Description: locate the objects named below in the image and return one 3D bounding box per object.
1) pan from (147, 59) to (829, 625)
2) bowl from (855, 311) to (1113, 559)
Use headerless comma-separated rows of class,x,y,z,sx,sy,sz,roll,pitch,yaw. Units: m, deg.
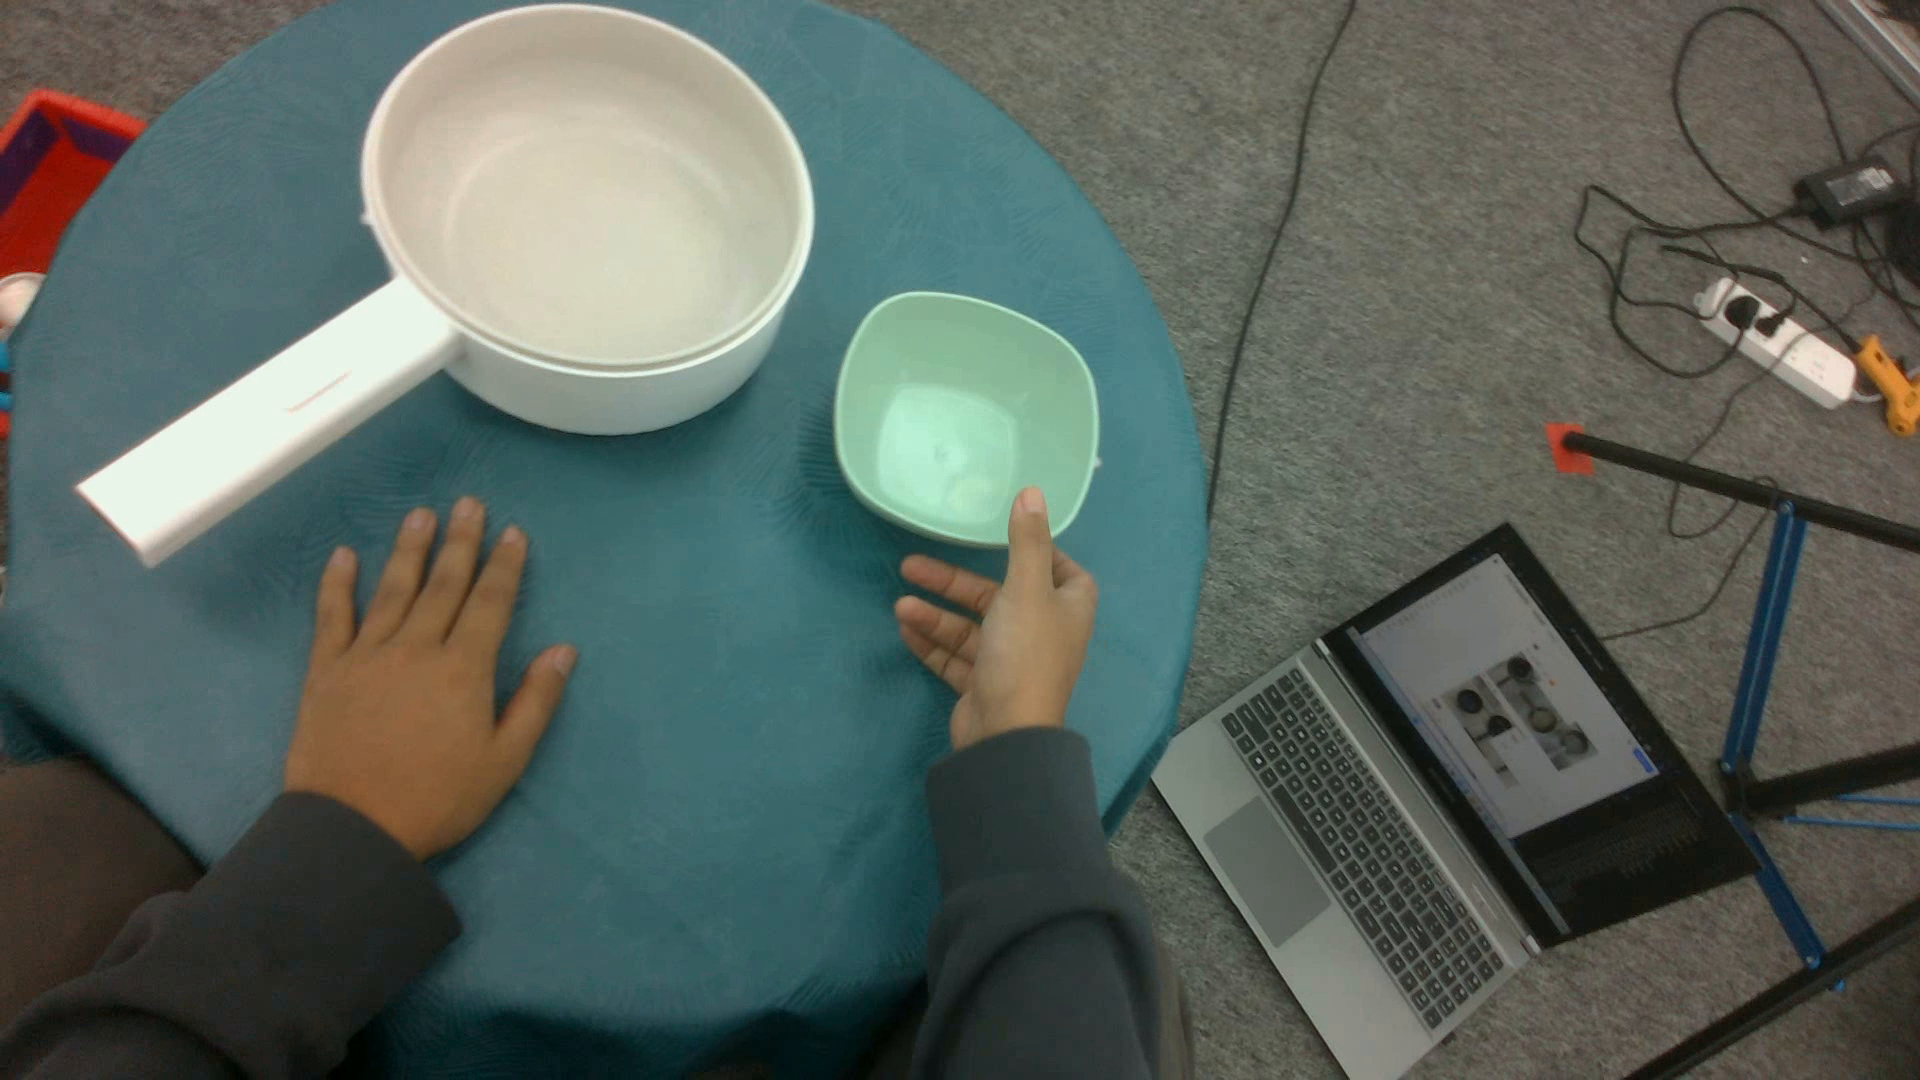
pan,-0.222,-0.084,0.680,0.201,0.101,0.356,43,66,1
bowl,0.008,-0.048,0.742,0.151,0.058,0.152,6,65,-13
